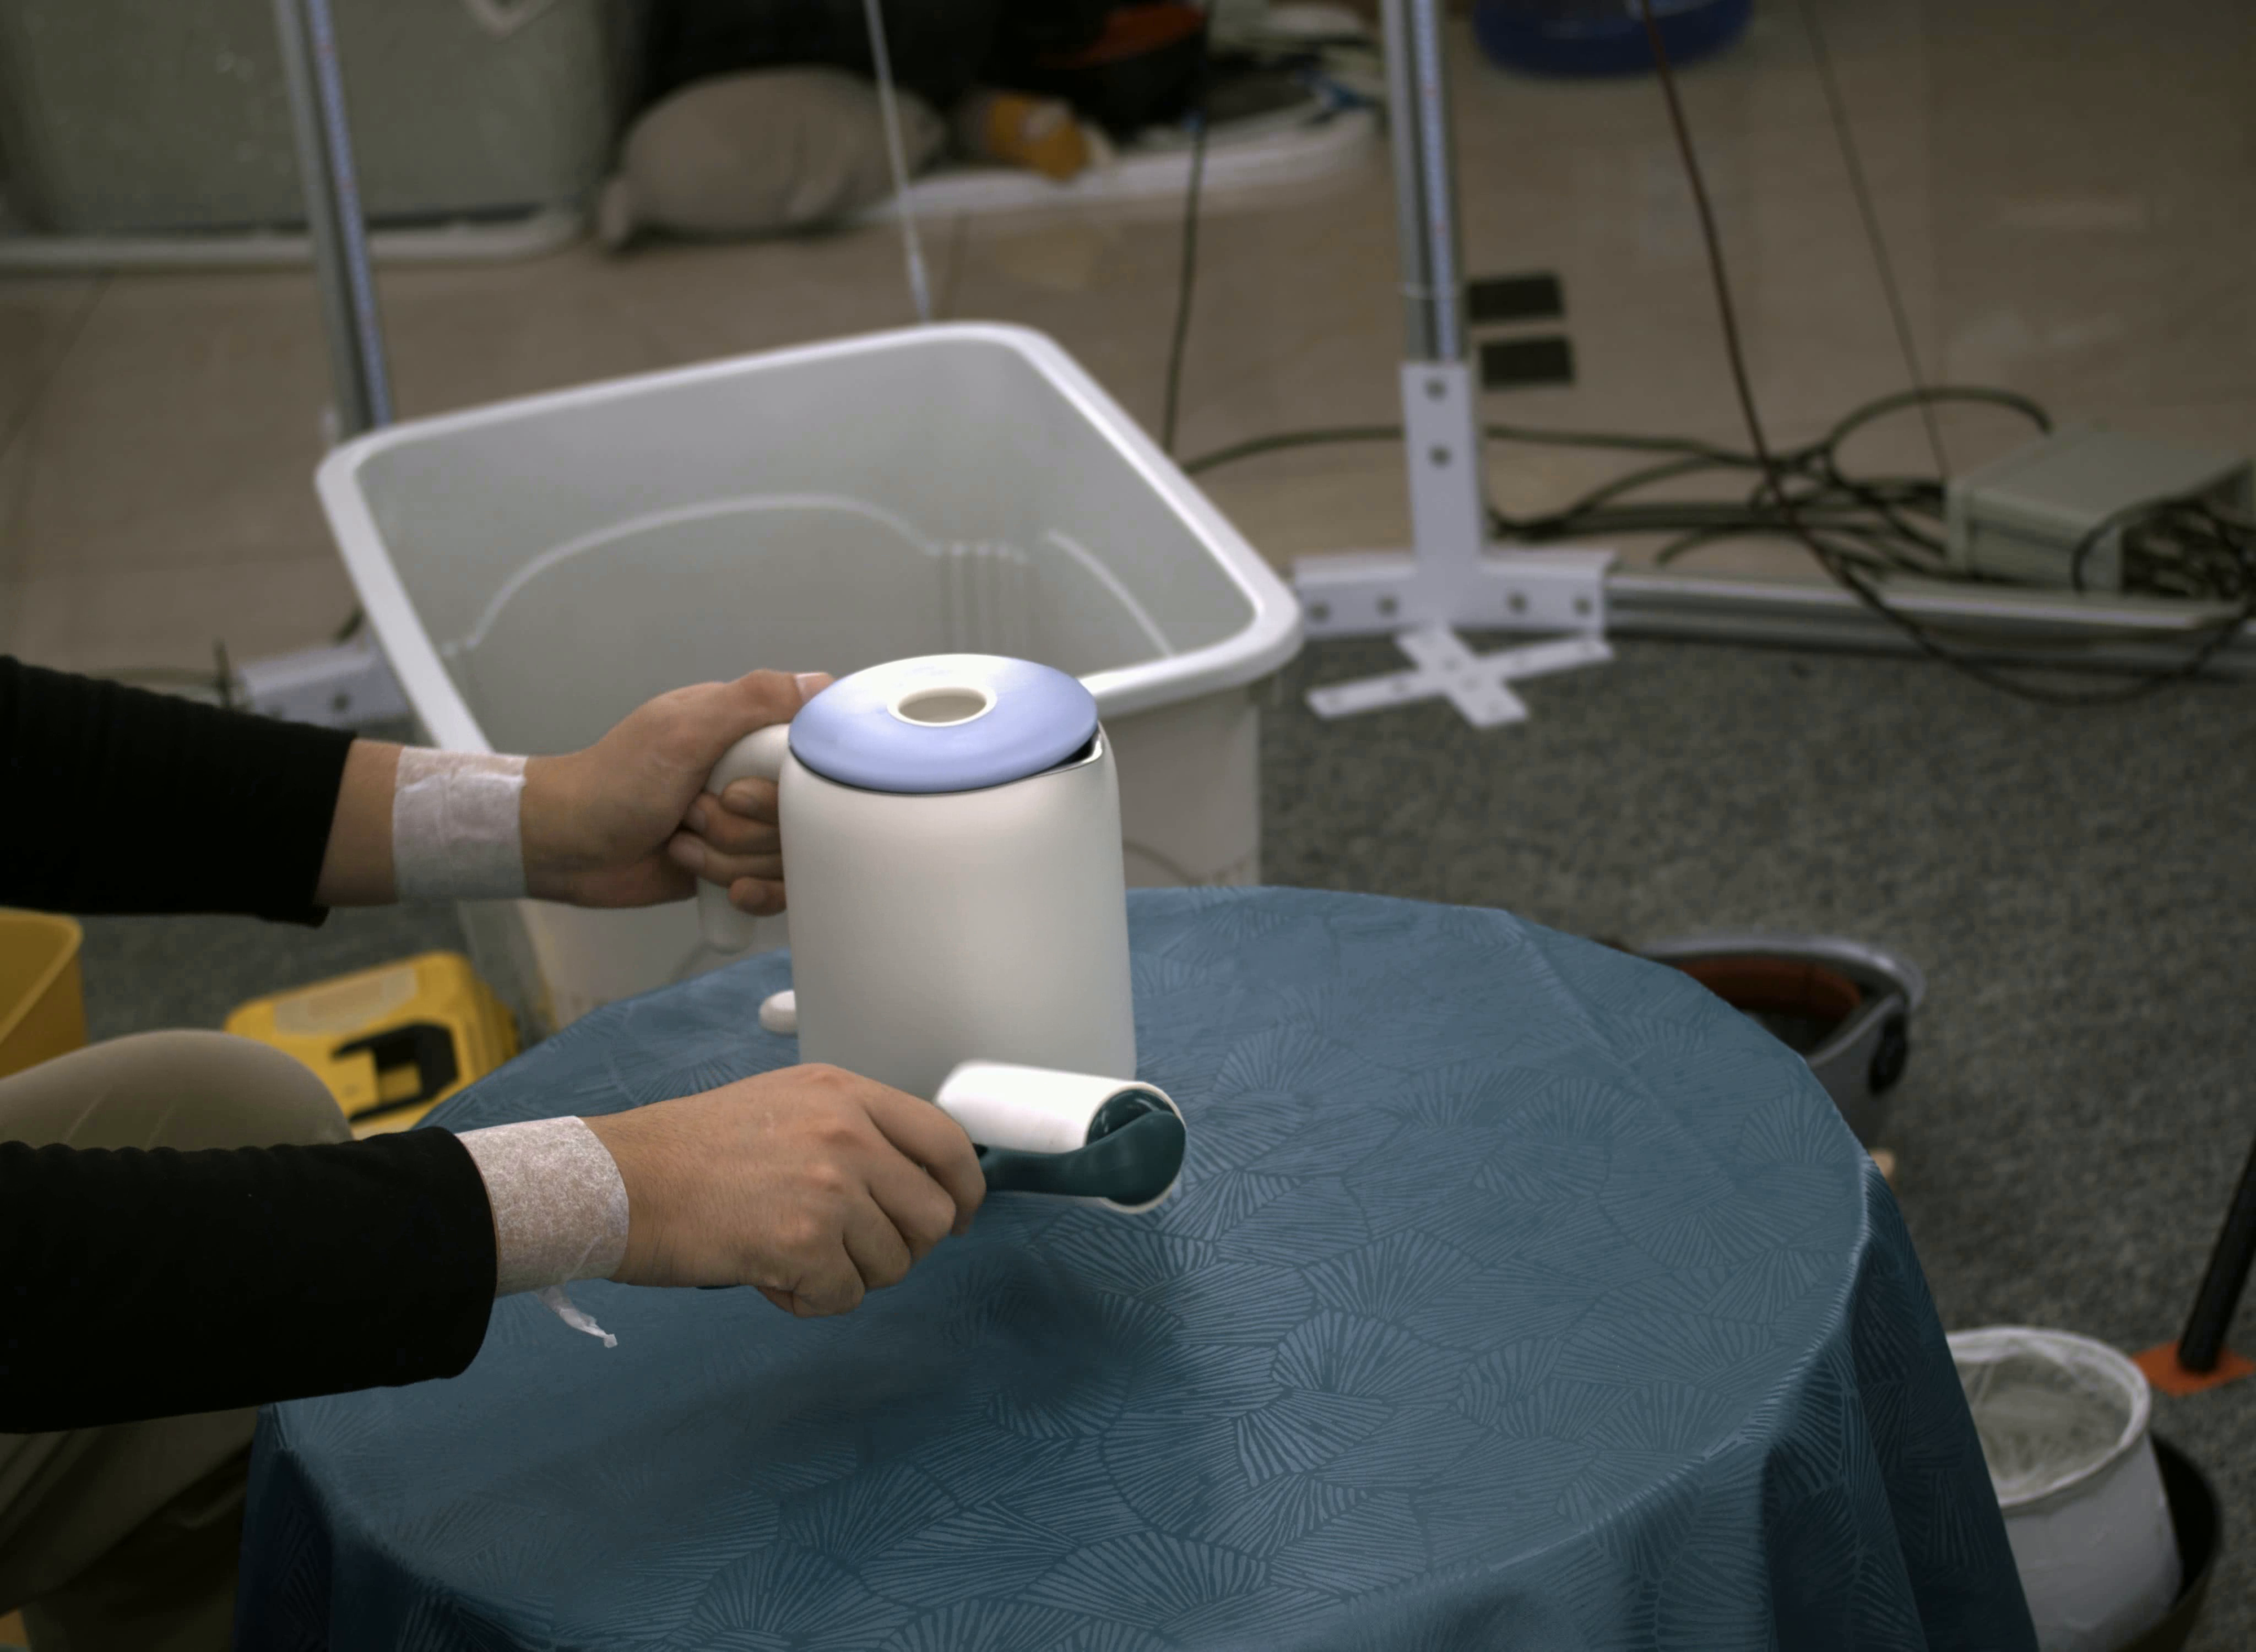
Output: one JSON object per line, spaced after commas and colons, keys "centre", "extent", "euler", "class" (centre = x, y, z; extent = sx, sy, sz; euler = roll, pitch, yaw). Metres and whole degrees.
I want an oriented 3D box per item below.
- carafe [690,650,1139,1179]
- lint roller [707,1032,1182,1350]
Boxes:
{"centre": [-0.087, 0.031, 2.189], "extent": [0.190, 0.185, 0.130], "euler": [9, 28, 28], "class": "carafe"}
{"centre": [-0.081, 0.129, 2.018], "extent": [0.179, 0.049, 0.133], "euler": [-25, 22, -33], "class": "lint roller"}
